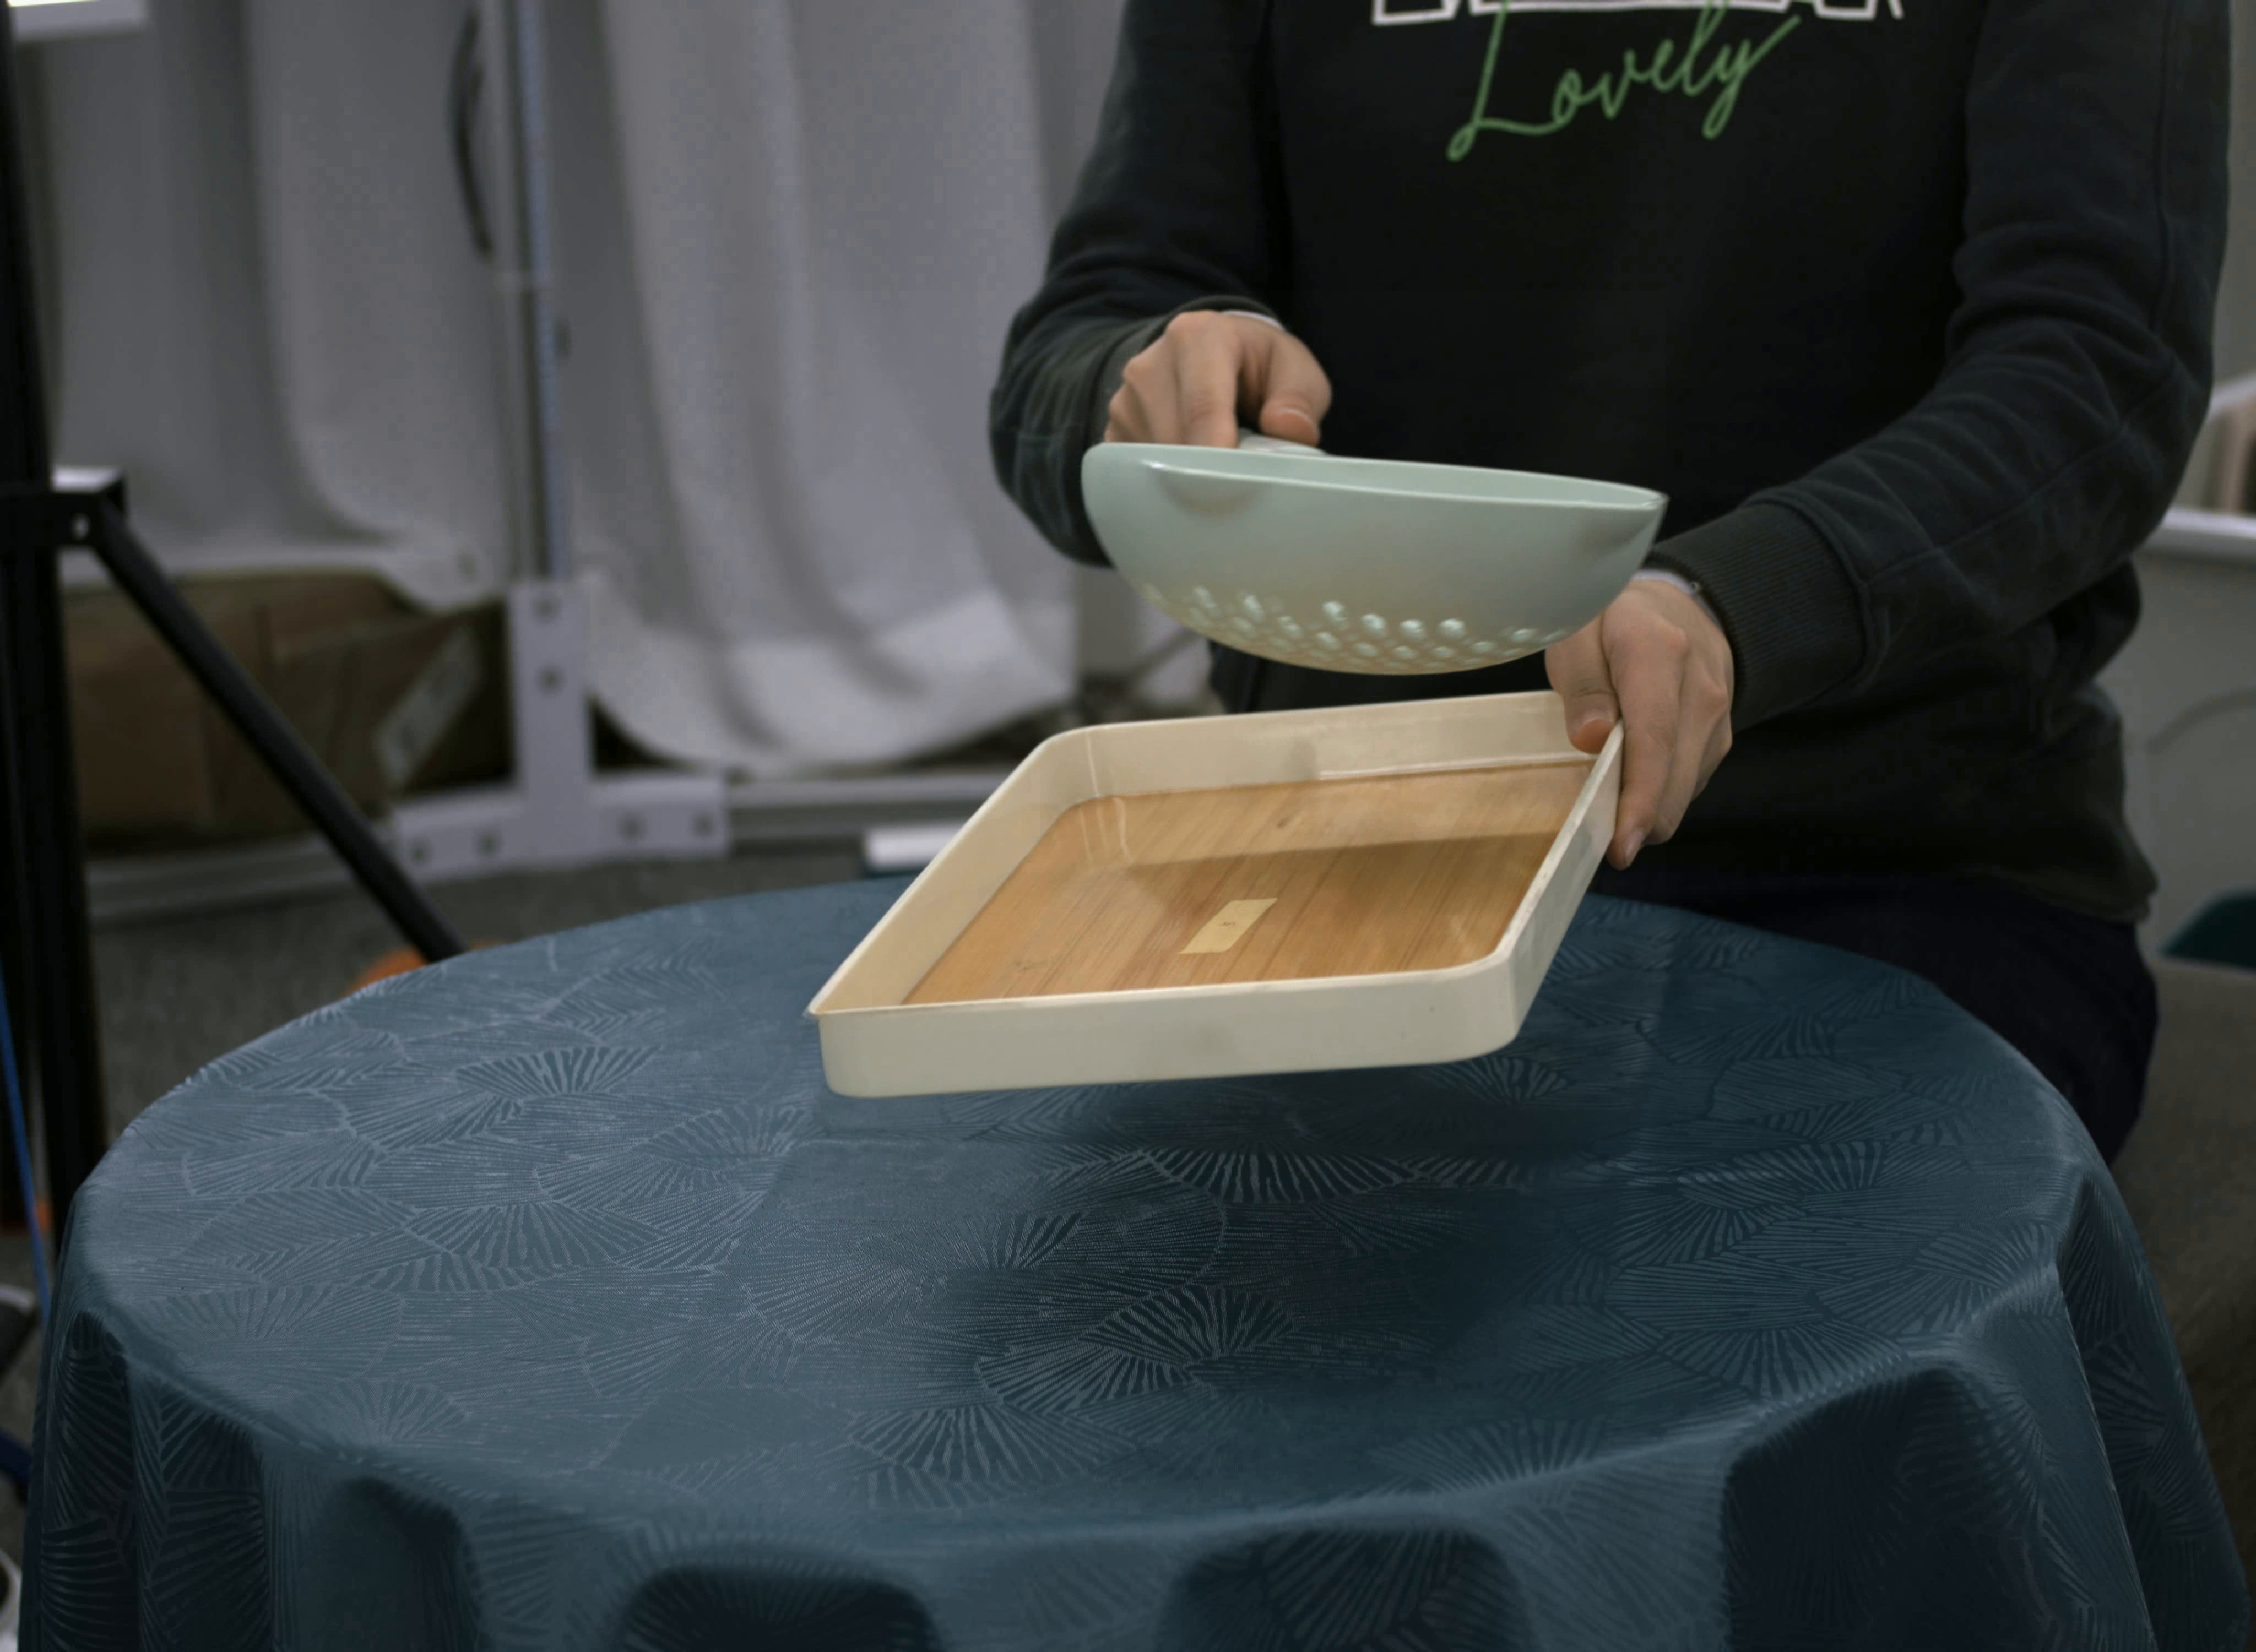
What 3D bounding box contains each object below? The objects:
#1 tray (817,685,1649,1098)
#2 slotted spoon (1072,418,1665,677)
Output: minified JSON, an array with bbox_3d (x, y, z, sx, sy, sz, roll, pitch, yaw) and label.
[{"bbox_3d":[0.038,0.016,1.513,0.193,0.027,0.298,-4,15,15],"label":"tray"},{"bbox_3d":[0.052,-0.100,1.610,0.167,0.075,0.362,5,14,-9],"label":"slotted spoon"}]
